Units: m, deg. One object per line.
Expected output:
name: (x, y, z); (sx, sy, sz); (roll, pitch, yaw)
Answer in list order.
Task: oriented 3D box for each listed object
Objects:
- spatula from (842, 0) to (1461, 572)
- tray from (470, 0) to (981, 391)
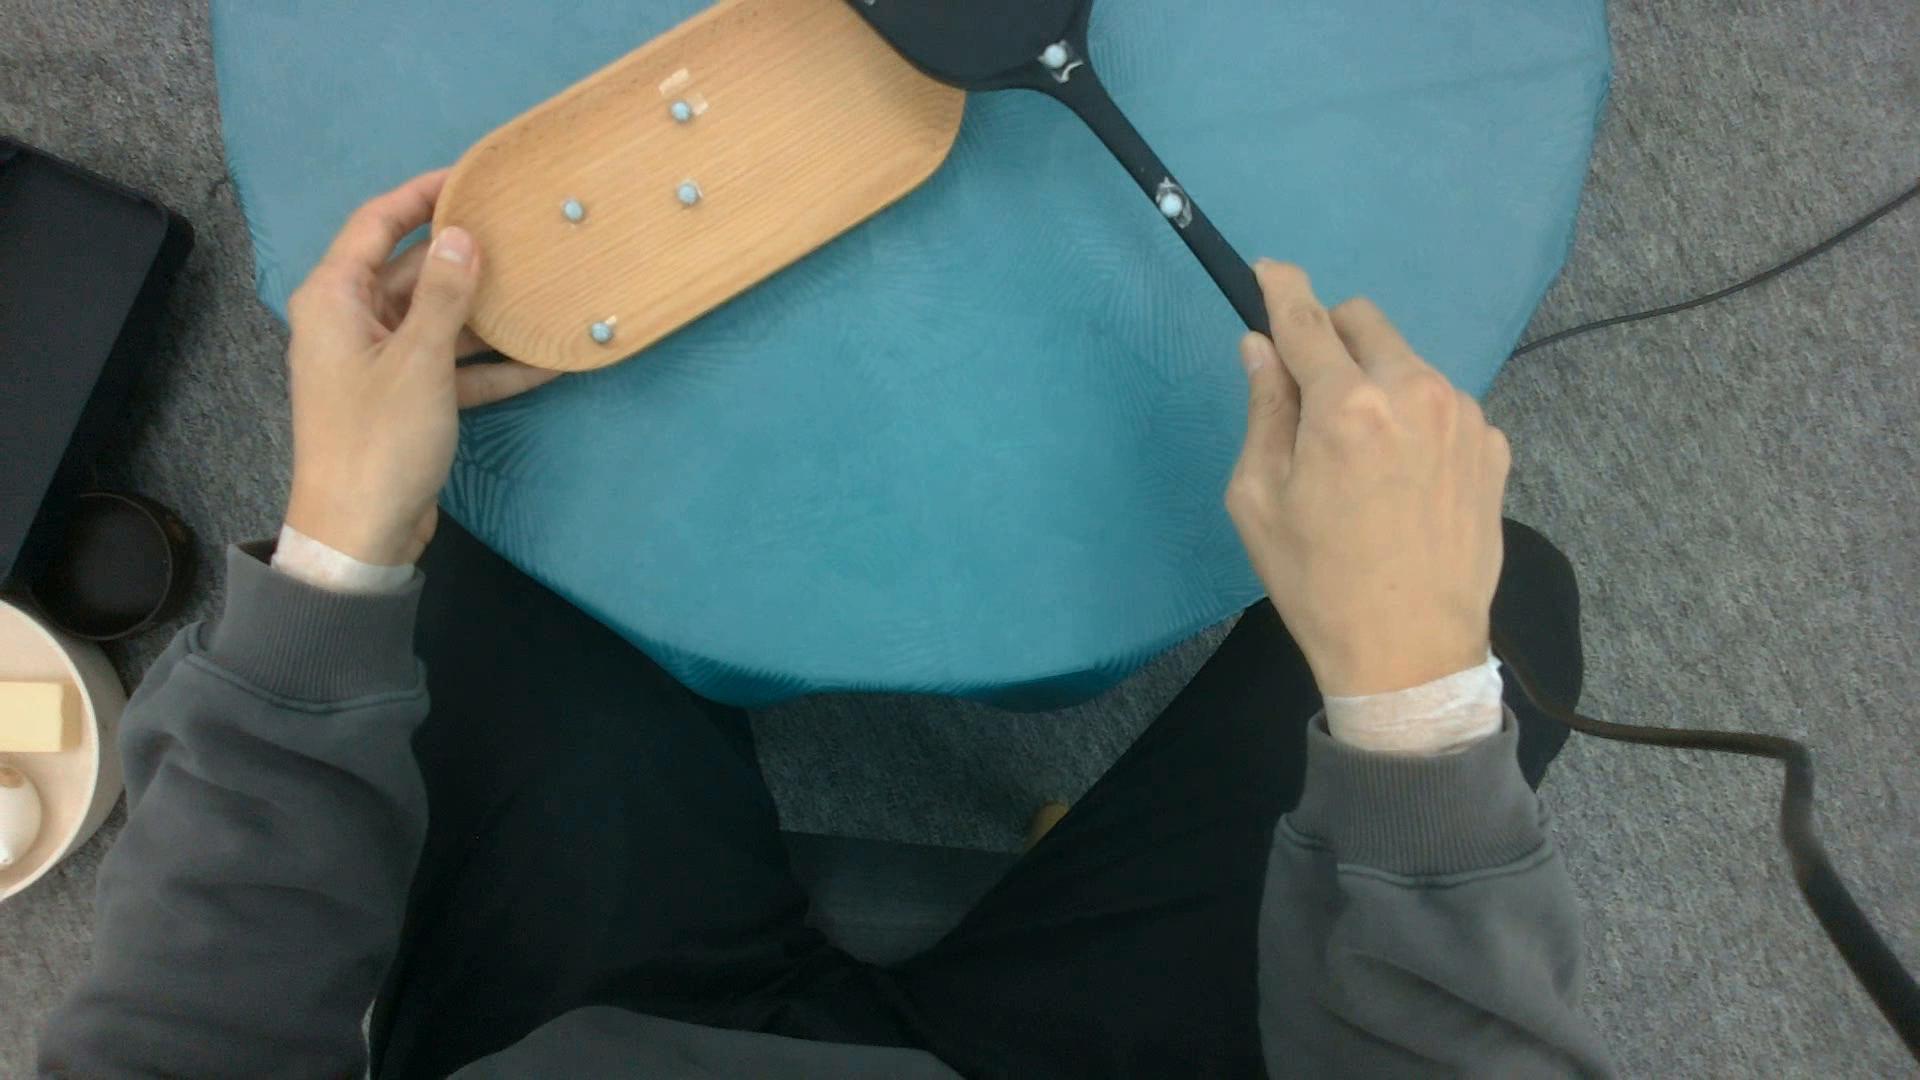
spatula: (0.083, -0.119, 0.521); (0.099, 0.040, 0.326); (-38, 80, 12)
tray: (-0.097, -0.148, 0.584); (0.231, 0.020, 0.101); (-32, 96, -5)
